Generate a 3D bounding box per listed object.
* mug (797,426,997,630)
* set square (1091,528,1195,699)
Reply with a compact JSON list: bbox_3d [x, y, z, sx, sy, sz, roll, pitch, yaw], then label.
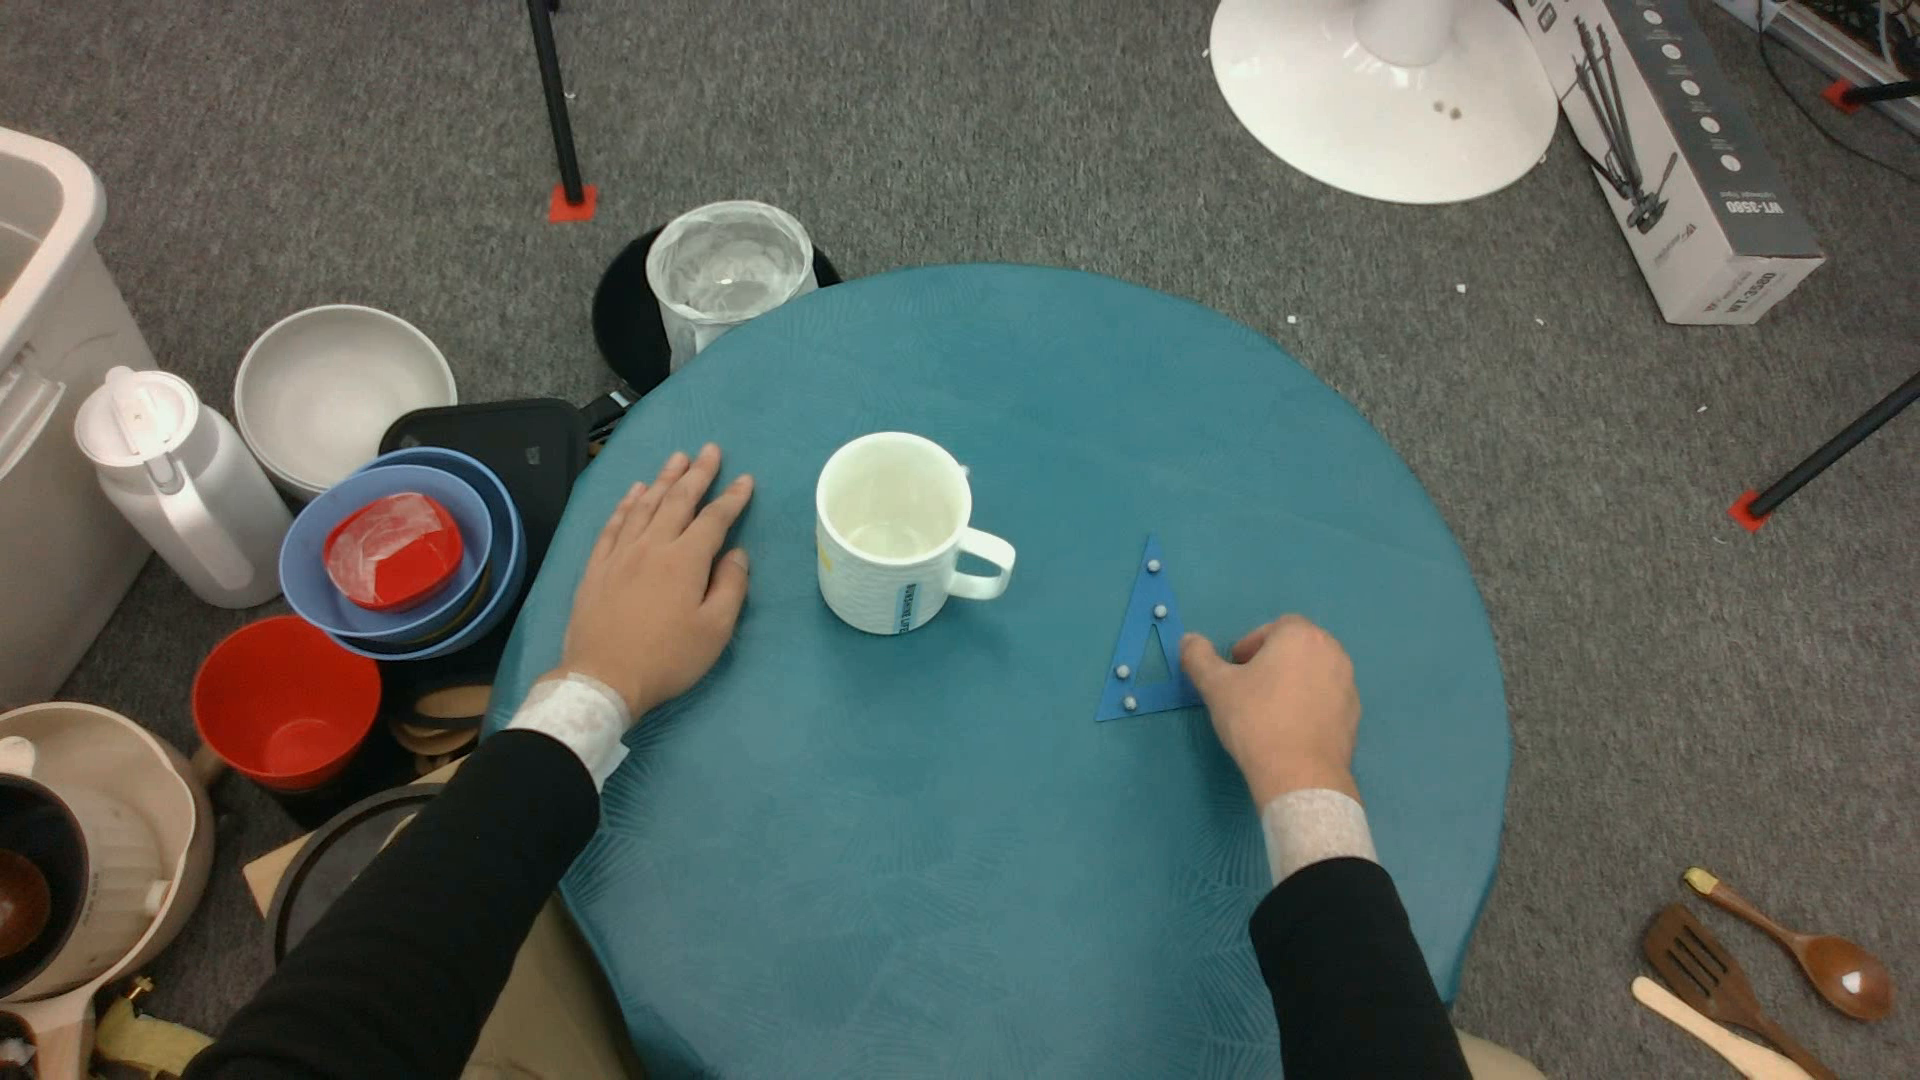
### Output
[{"bbox_3d":[-0.038,0.001,0.805,0.118,0.101,0.085,19,61,3],"label":"mug"},{"bbox_3d":[0.128,0.052,0.855,0.061,0.006,0.132,22,61,6],"label":"set square"}]
